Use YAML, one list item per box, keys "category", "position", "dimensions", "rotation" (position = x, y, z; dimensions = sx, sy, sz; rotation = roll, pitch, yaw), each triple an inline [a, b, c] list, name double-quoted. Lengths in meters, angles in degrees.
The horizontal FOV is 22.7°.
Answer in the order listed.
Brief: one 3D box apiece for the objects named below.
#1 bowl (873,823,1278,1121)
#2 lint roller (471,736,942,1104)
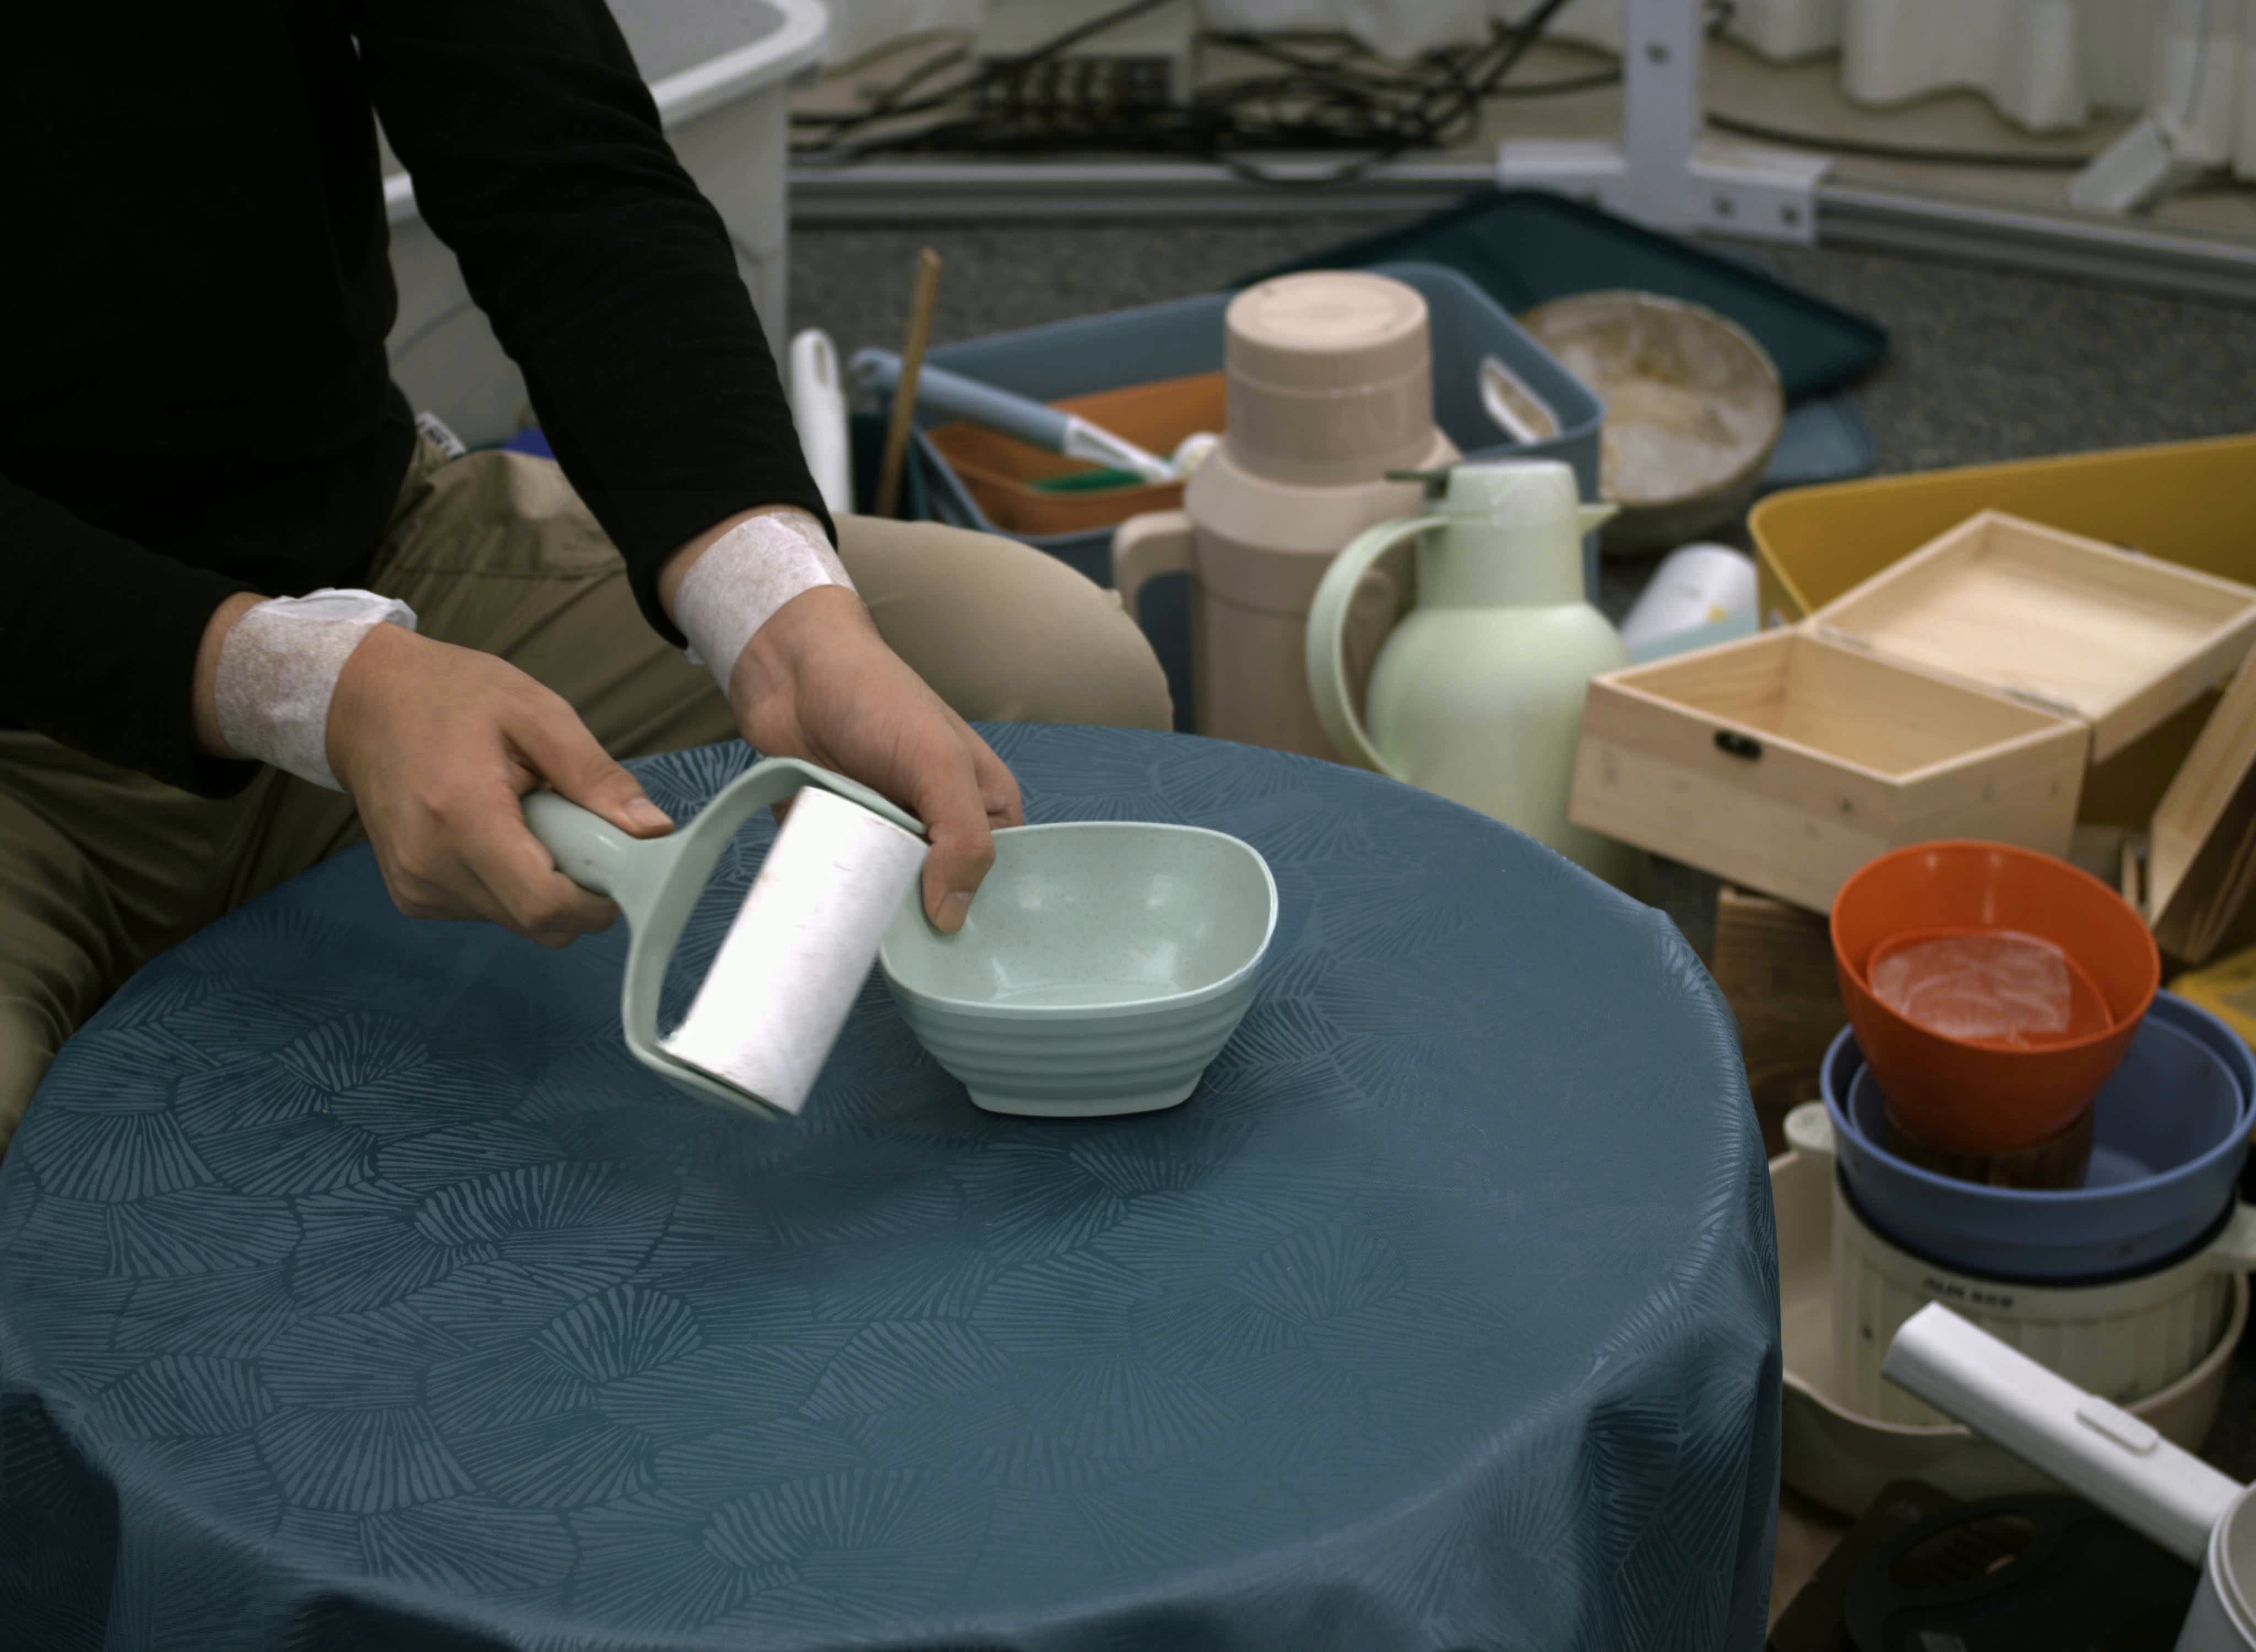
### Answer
- category: "bowl"
  position: [-0.017, 0.056, 1.928]
  dimensions: [0.151, 0.058, 0.154]
  rotation: [-1, 26, 1]
- category: "lint roller"
  position: [-0.157, 0.013, 1.890]
  dimensions: [0.197, 0.117, 0.048]
  rotation: [21, -9, 36]
